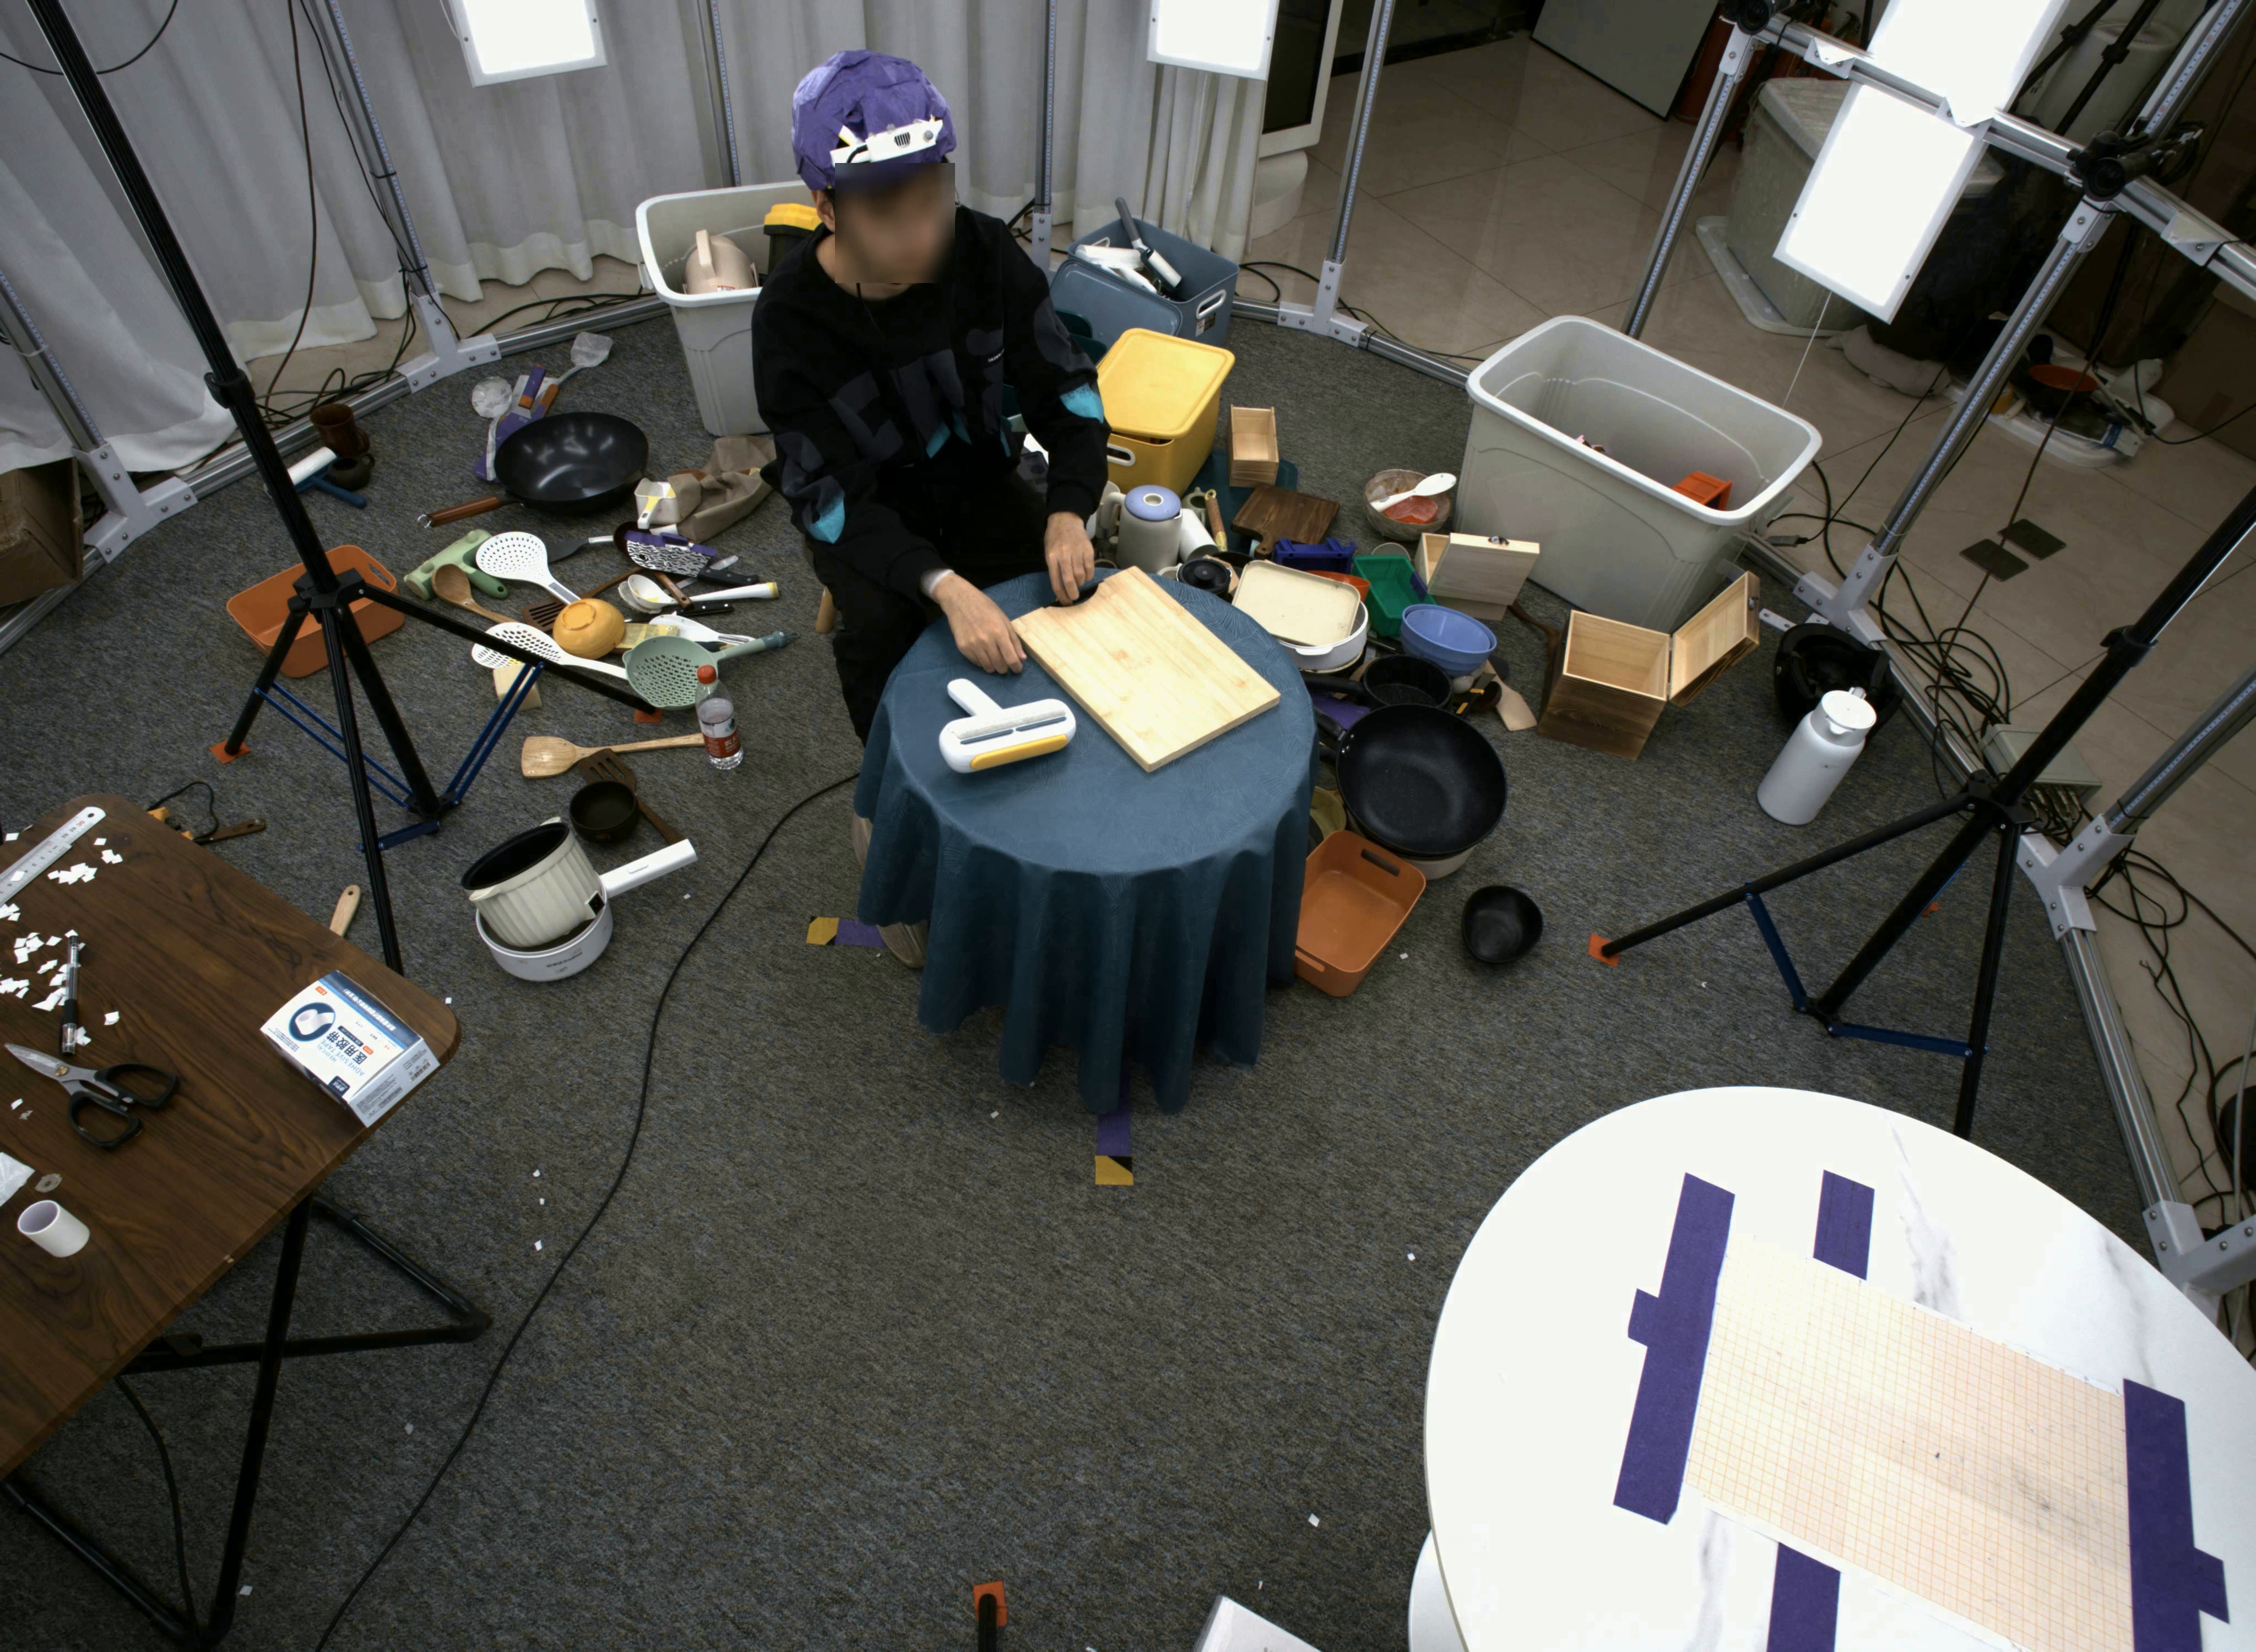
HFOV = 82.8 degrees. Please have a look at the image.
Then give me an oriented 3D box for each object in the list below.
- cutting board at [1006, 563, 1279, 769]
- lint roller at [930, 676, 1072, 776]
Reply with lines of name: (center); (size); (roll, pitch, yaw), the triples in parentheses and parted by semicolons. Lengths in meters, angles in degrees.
cutting board: (0.017, -0.241, 1.868); (0.252, 0.023, 0.355); (-29, 57, -25)
lint roller: (-0.193, -0.153, 1.745); (0.193, 0.072, 0.197); (-16, 50, -23)
